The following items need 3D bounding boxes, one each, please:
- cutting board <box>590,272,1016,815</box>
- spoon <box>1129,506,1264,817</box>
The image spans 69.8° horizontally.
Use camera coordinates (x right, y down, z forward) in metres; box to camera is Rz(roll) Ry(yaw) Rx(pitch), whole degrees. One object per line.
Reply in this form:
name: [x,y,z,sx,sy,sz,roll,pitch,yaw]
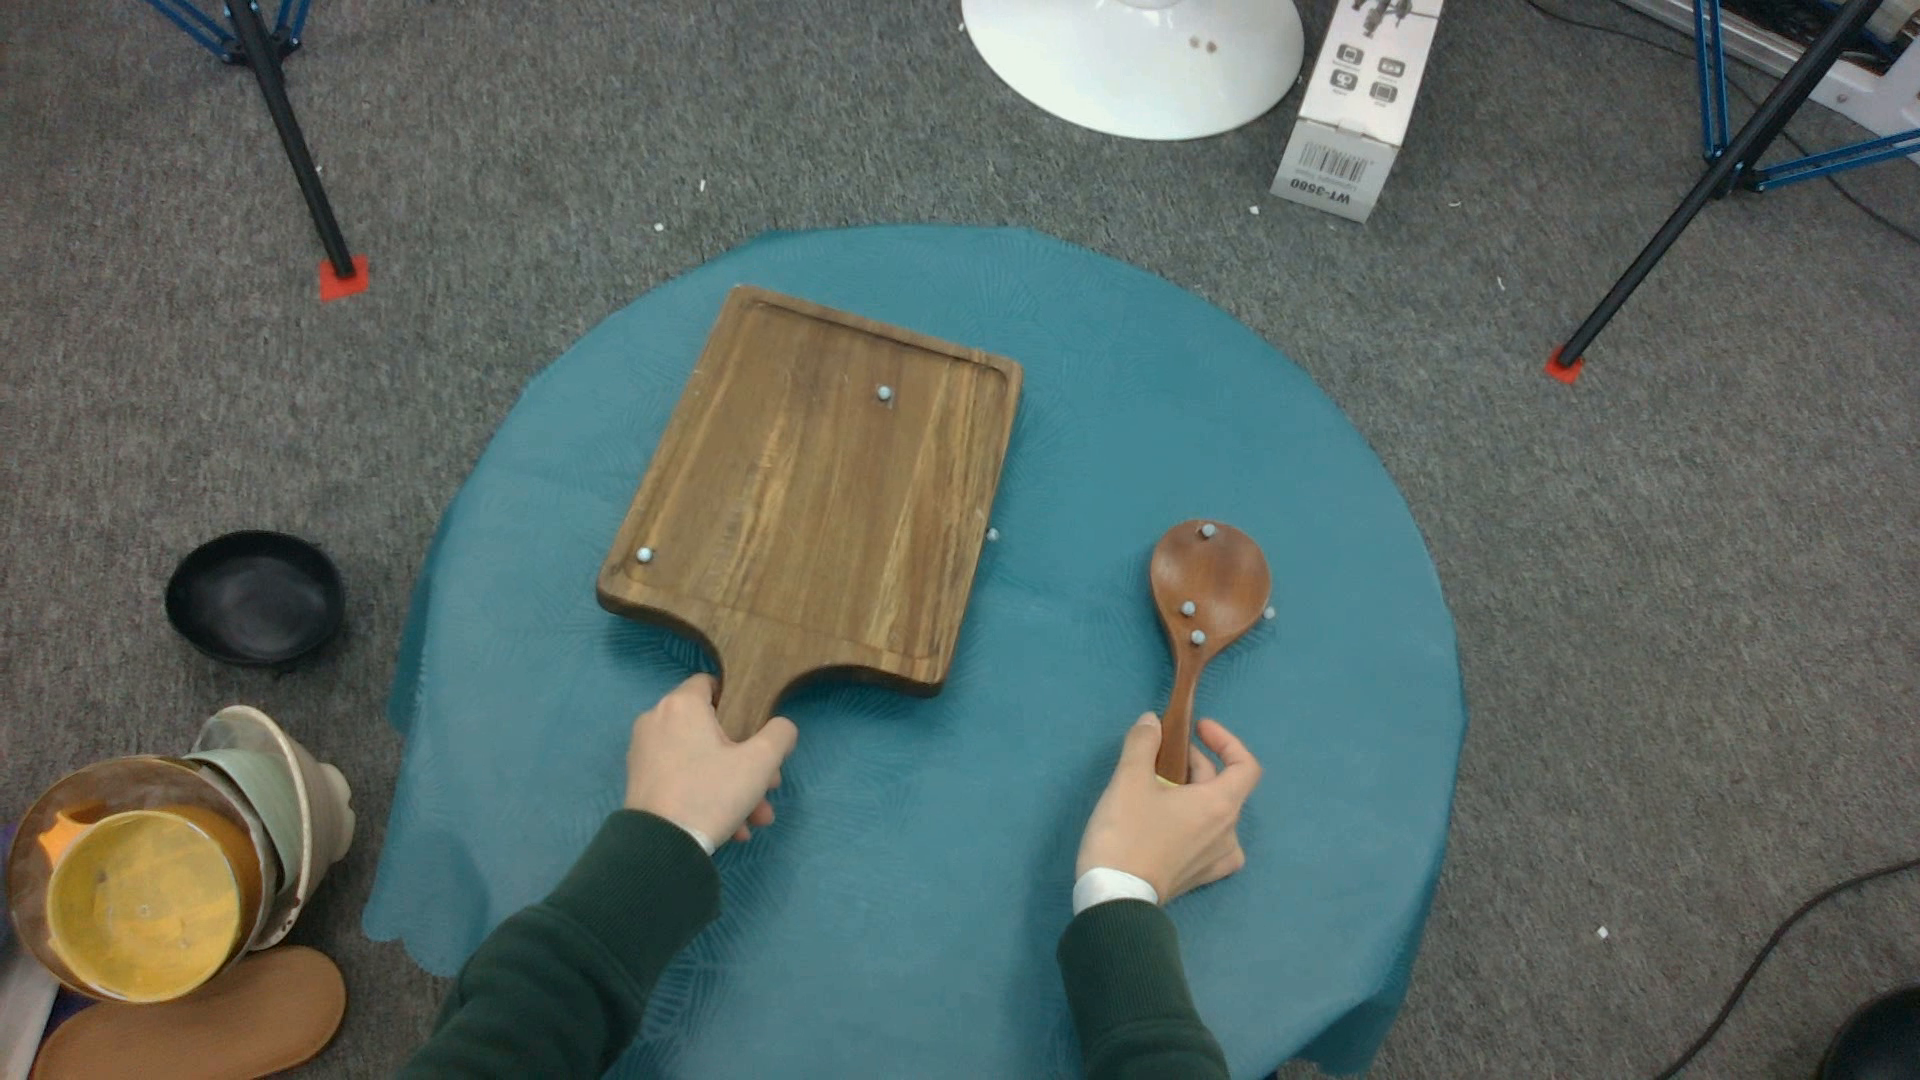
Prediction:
cutting board: [-0.091,-0.007,0.783,0.201,0.023,0.354,16,53,-2]
spoon: [0.127,0.063,0.779,0.075,0.017,0.217,20,50,1]
